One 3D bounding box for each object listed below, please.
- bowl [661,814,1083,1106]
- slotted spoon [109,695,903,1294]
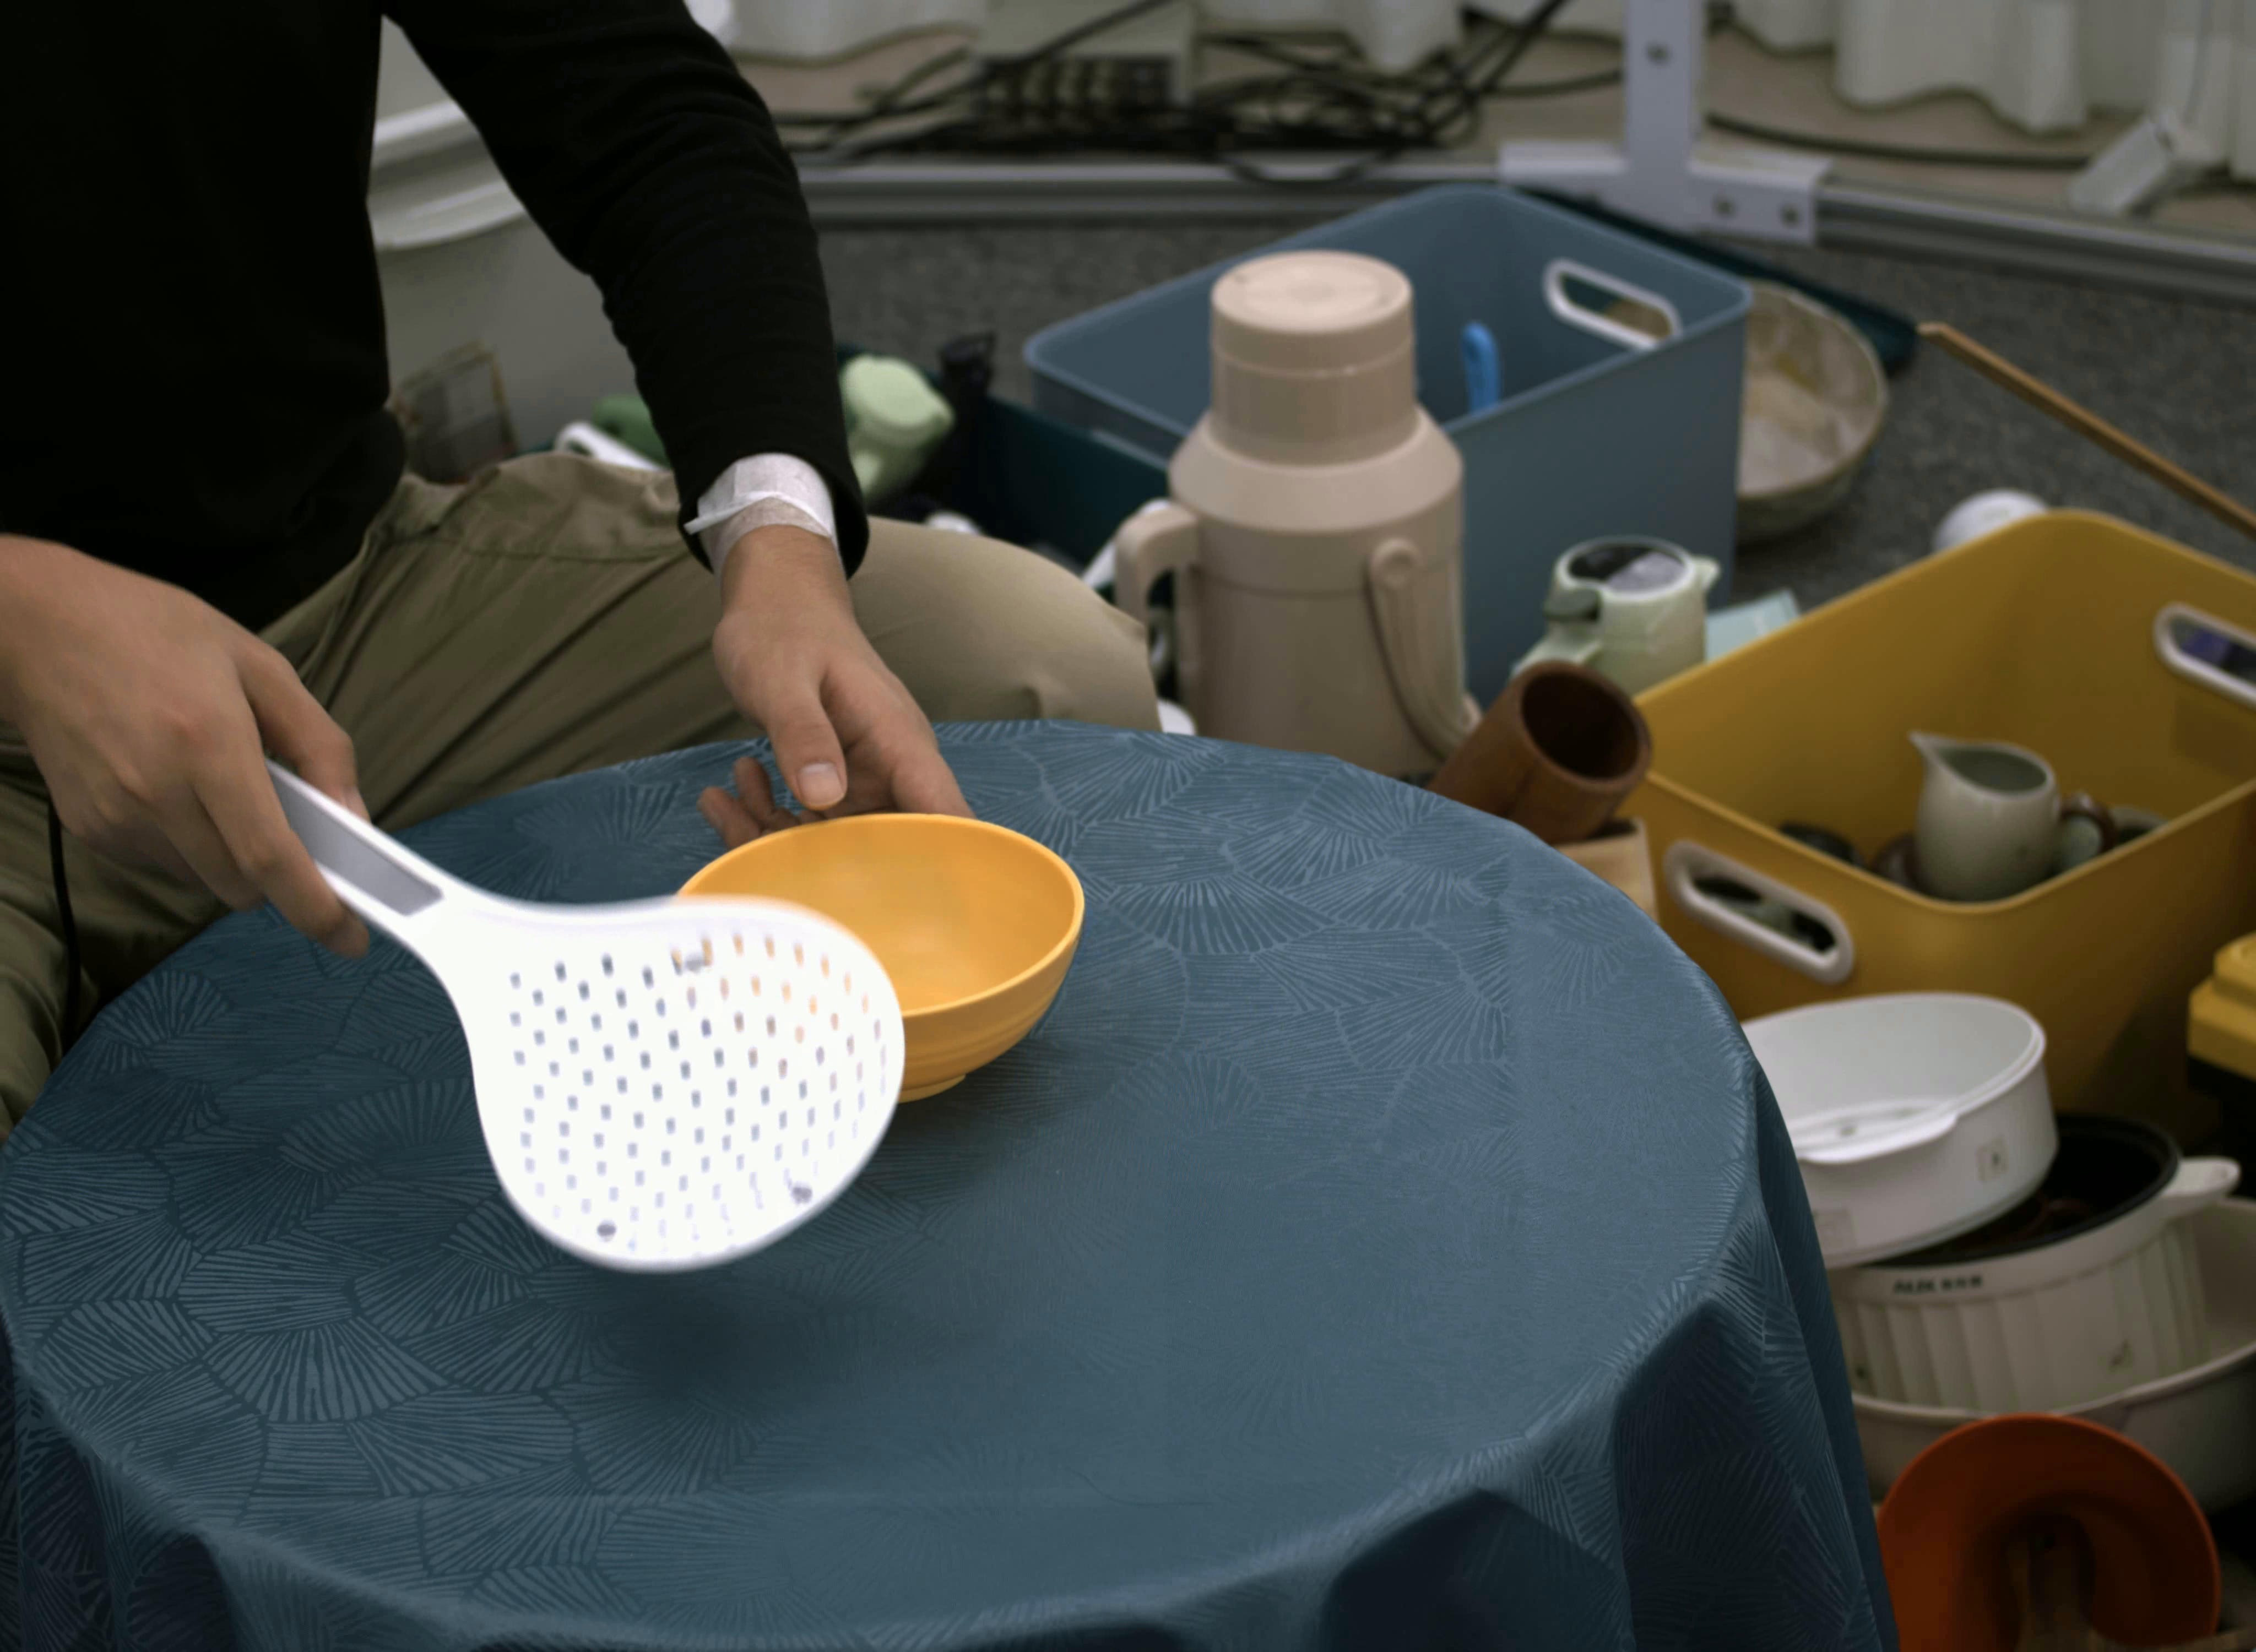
[{"bbox_3d":[-0.087,0.056,1.937,0.144,0.059,0.147,0,28,1],"label":"bowl"},{"bbox_3d":[-0.213,0.045,1.825,0.350,0.045,0.137,33,67,28],"label":"slotted spoon"}]
